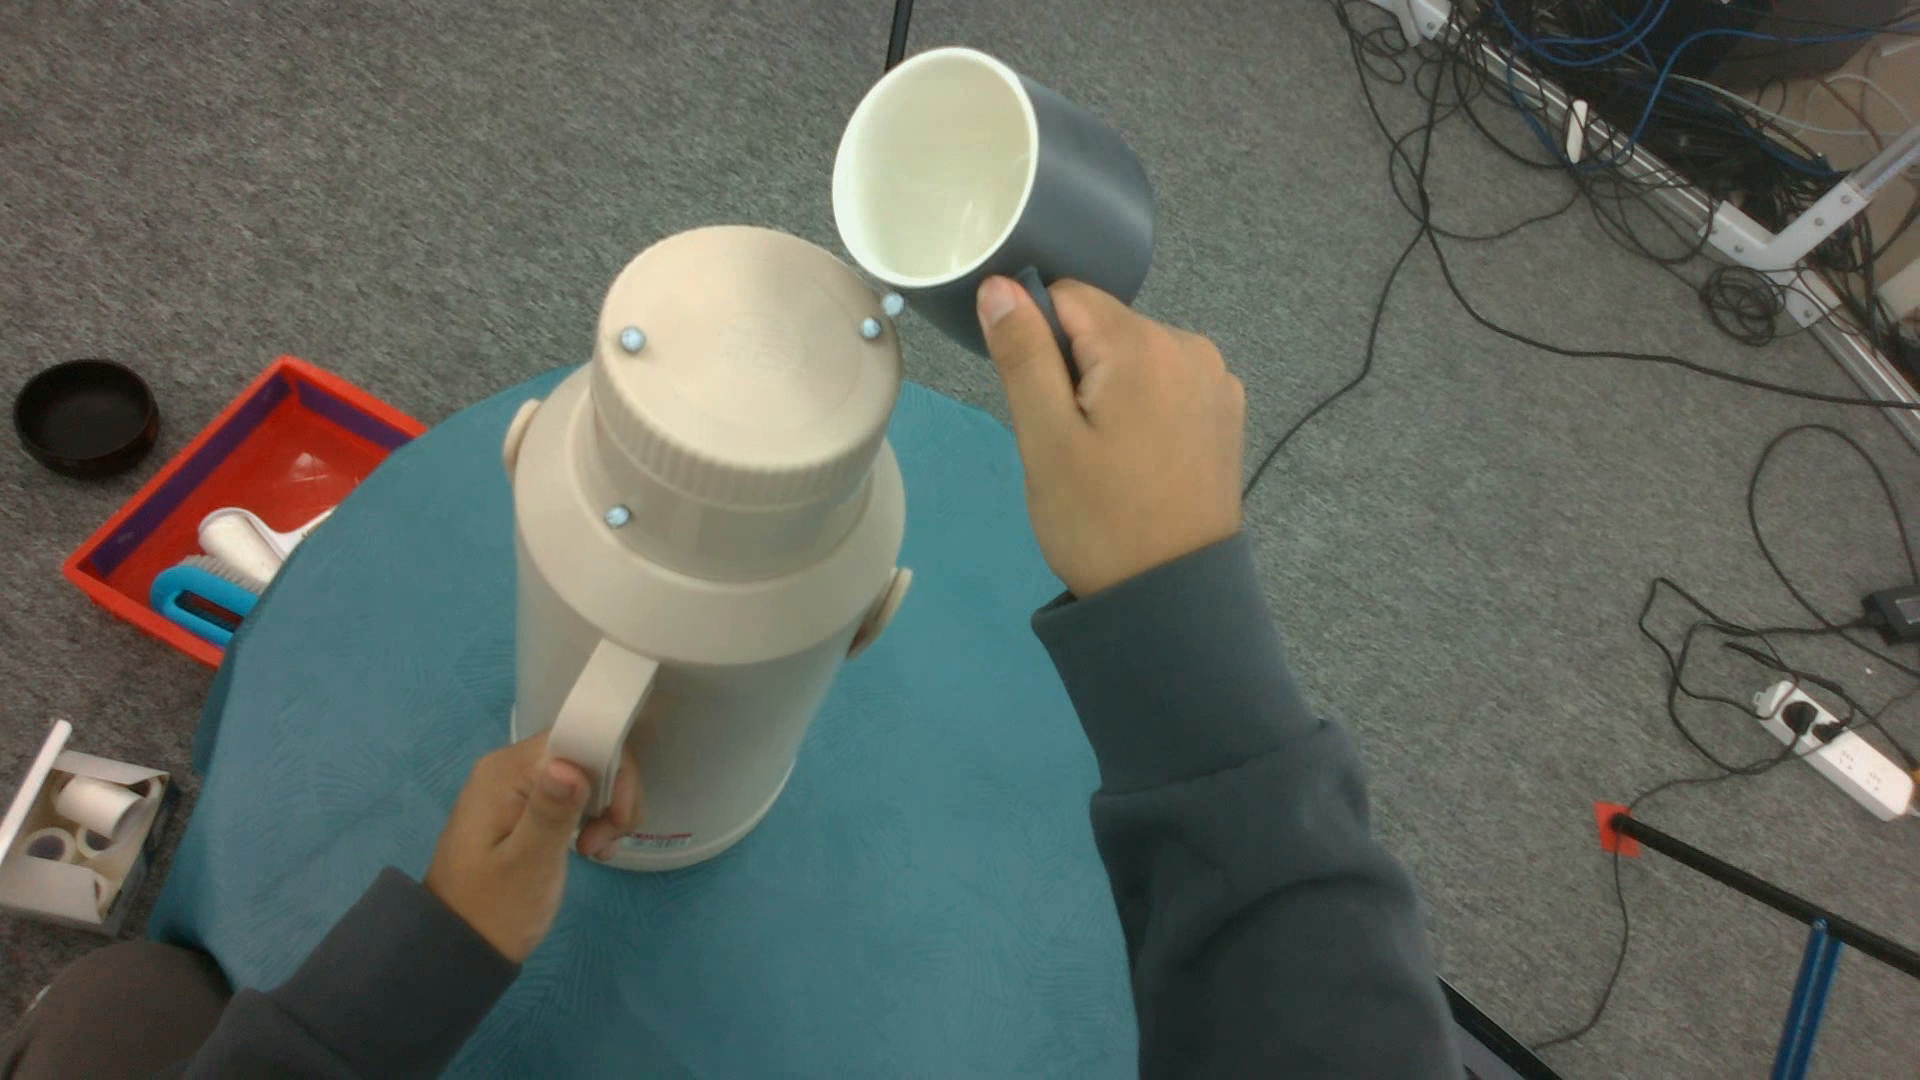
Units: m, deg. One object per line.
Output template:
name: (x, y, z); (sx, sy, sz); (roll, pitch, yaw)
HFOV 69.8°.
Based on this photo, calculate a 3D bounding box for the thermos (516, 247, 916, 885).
thermos: (-0.127, 0.044, 0.647); (0.175, 0.404, 0.208); (22, 57, -4)

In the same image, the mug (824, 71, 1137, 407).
mug: (0.014, -0.100, 0.493); (0.090, 0.093, 0.123); (15, 43, -59)
